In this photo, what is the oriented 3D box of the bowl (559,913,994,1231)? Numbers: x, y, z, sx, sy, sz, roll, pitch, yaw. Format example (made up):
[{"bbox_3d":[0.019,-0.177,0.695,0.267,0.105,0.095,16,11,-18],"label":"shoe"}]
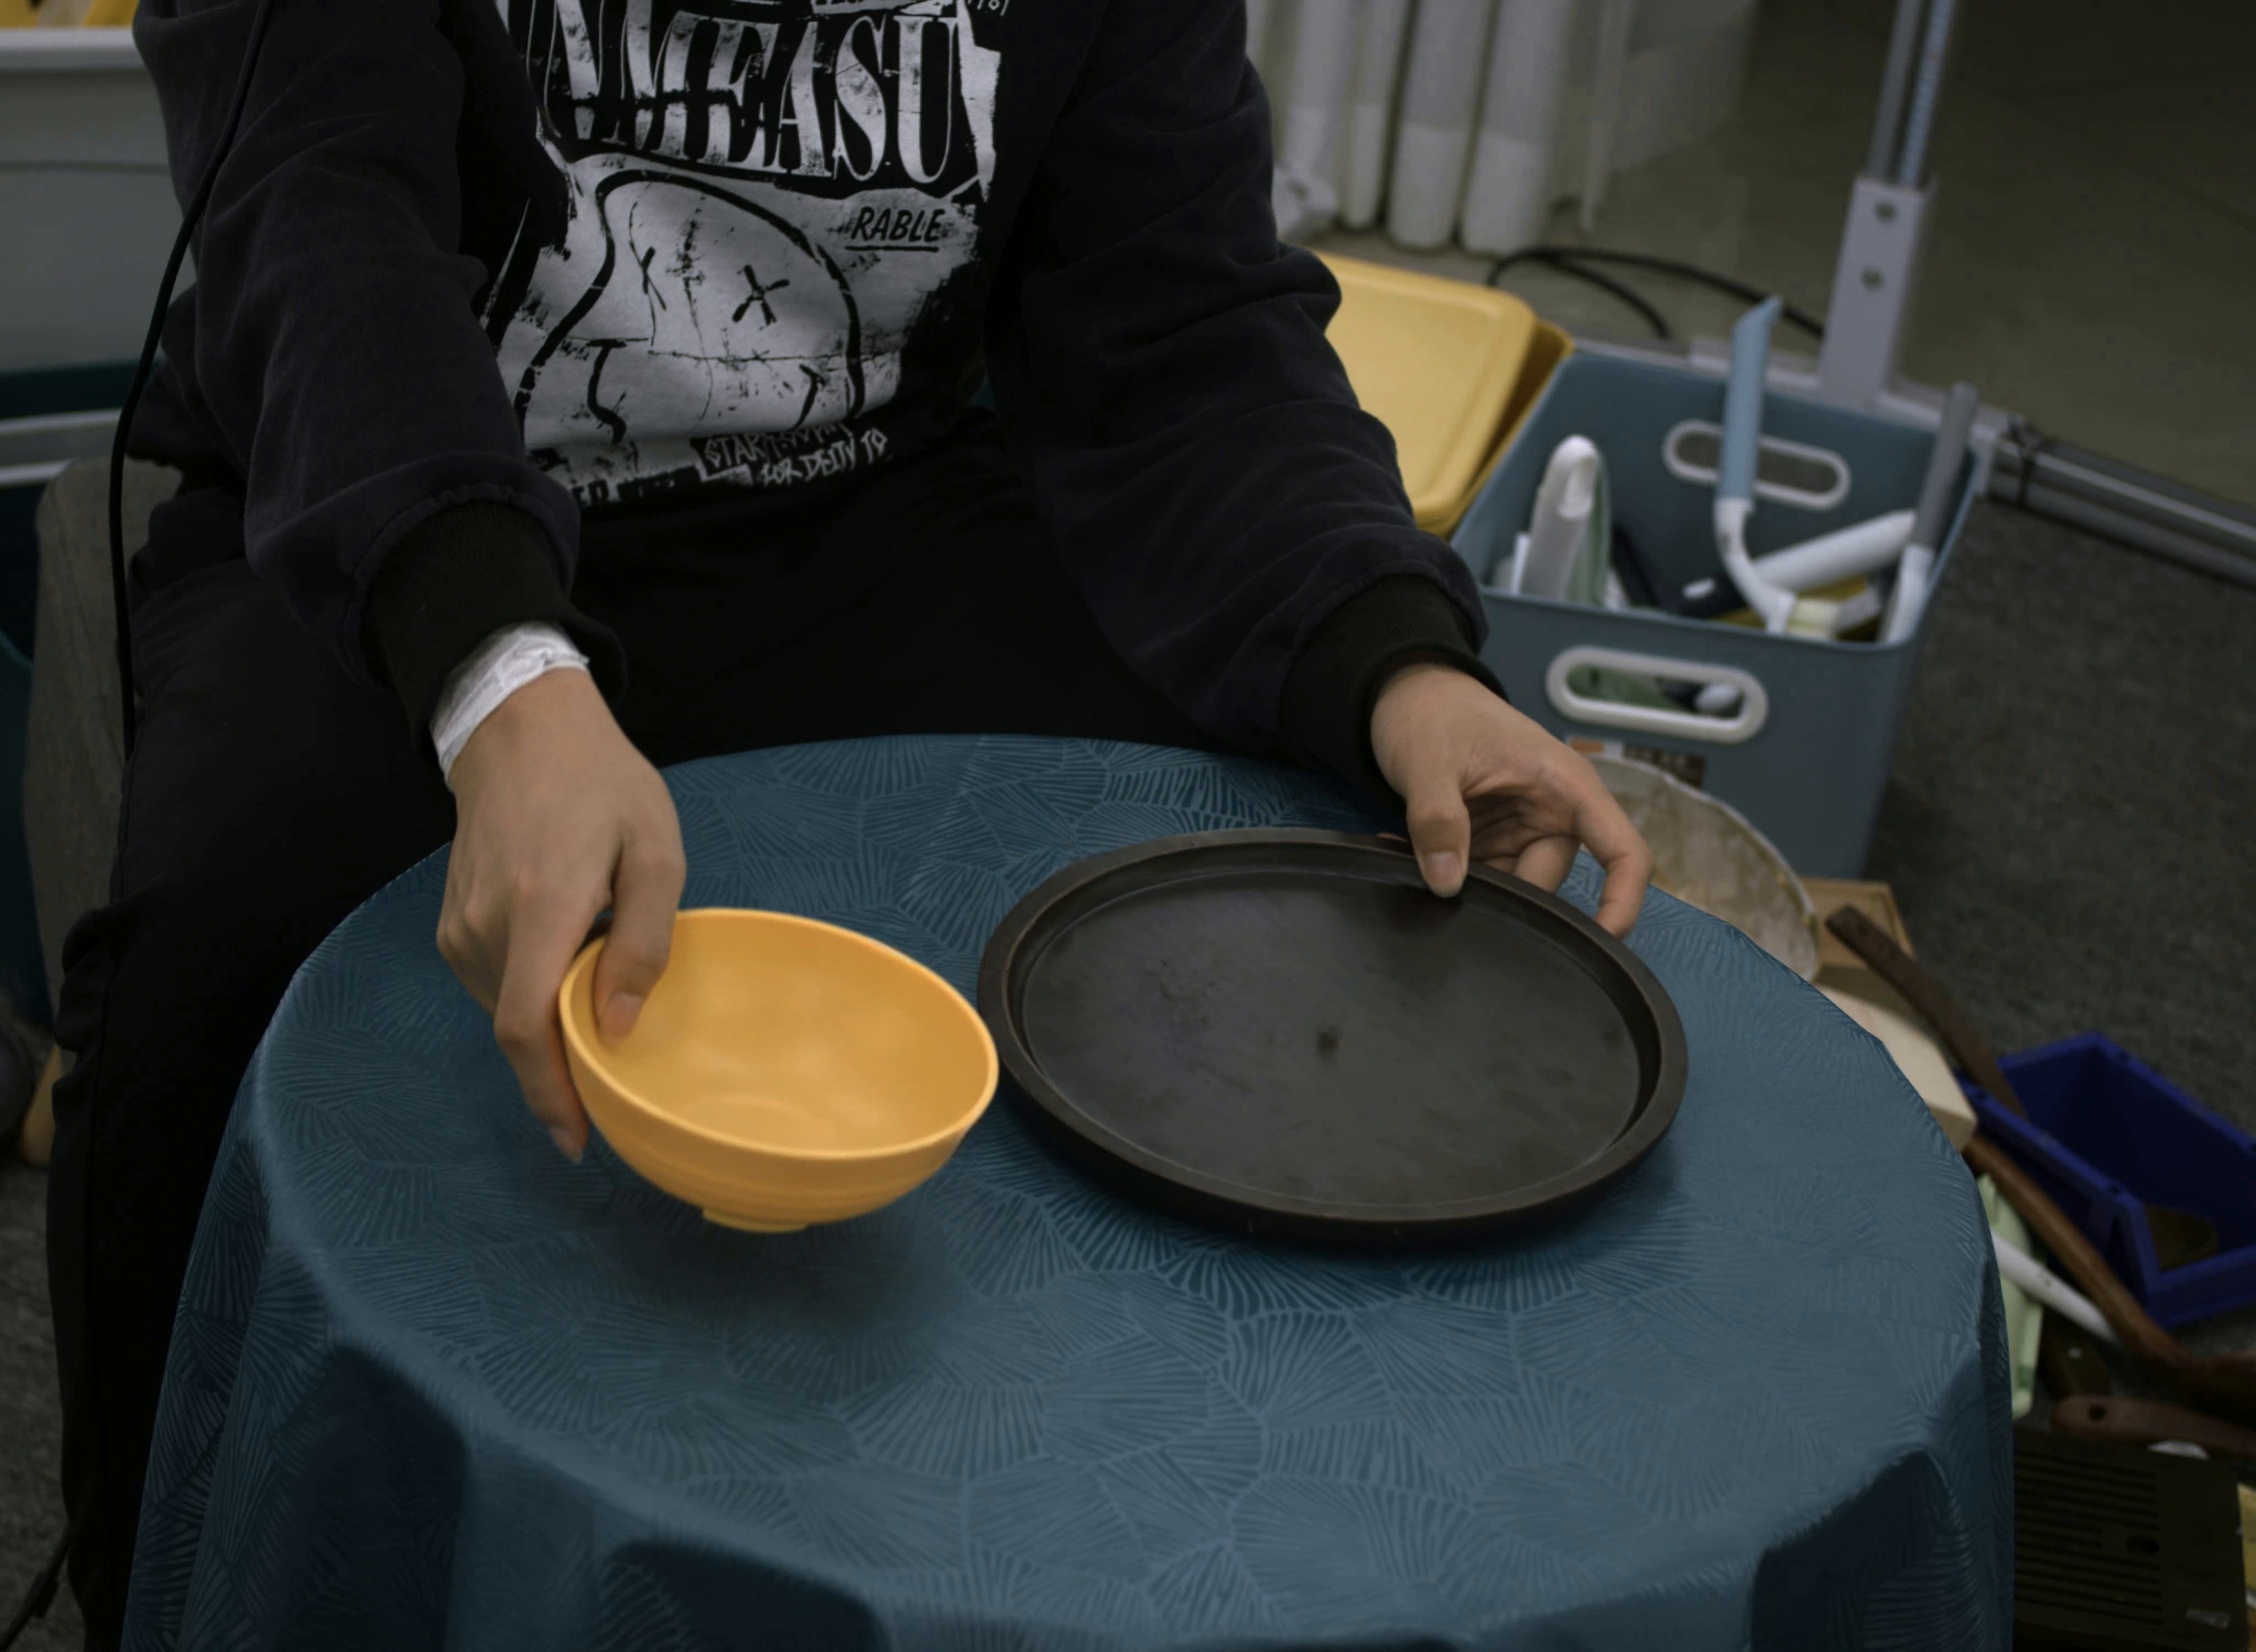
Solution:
[{"bbox_3d":[-0.119,0.089,1.731,0.145,0.060,0.146,11,26,-6],"label":"bowl"}]

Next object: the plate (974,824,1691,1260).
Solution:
[{"bbox_3d":[0.072,0.074,1.873,0.254,0.029,0.256,3,31,-2],"label":"plate"}]
